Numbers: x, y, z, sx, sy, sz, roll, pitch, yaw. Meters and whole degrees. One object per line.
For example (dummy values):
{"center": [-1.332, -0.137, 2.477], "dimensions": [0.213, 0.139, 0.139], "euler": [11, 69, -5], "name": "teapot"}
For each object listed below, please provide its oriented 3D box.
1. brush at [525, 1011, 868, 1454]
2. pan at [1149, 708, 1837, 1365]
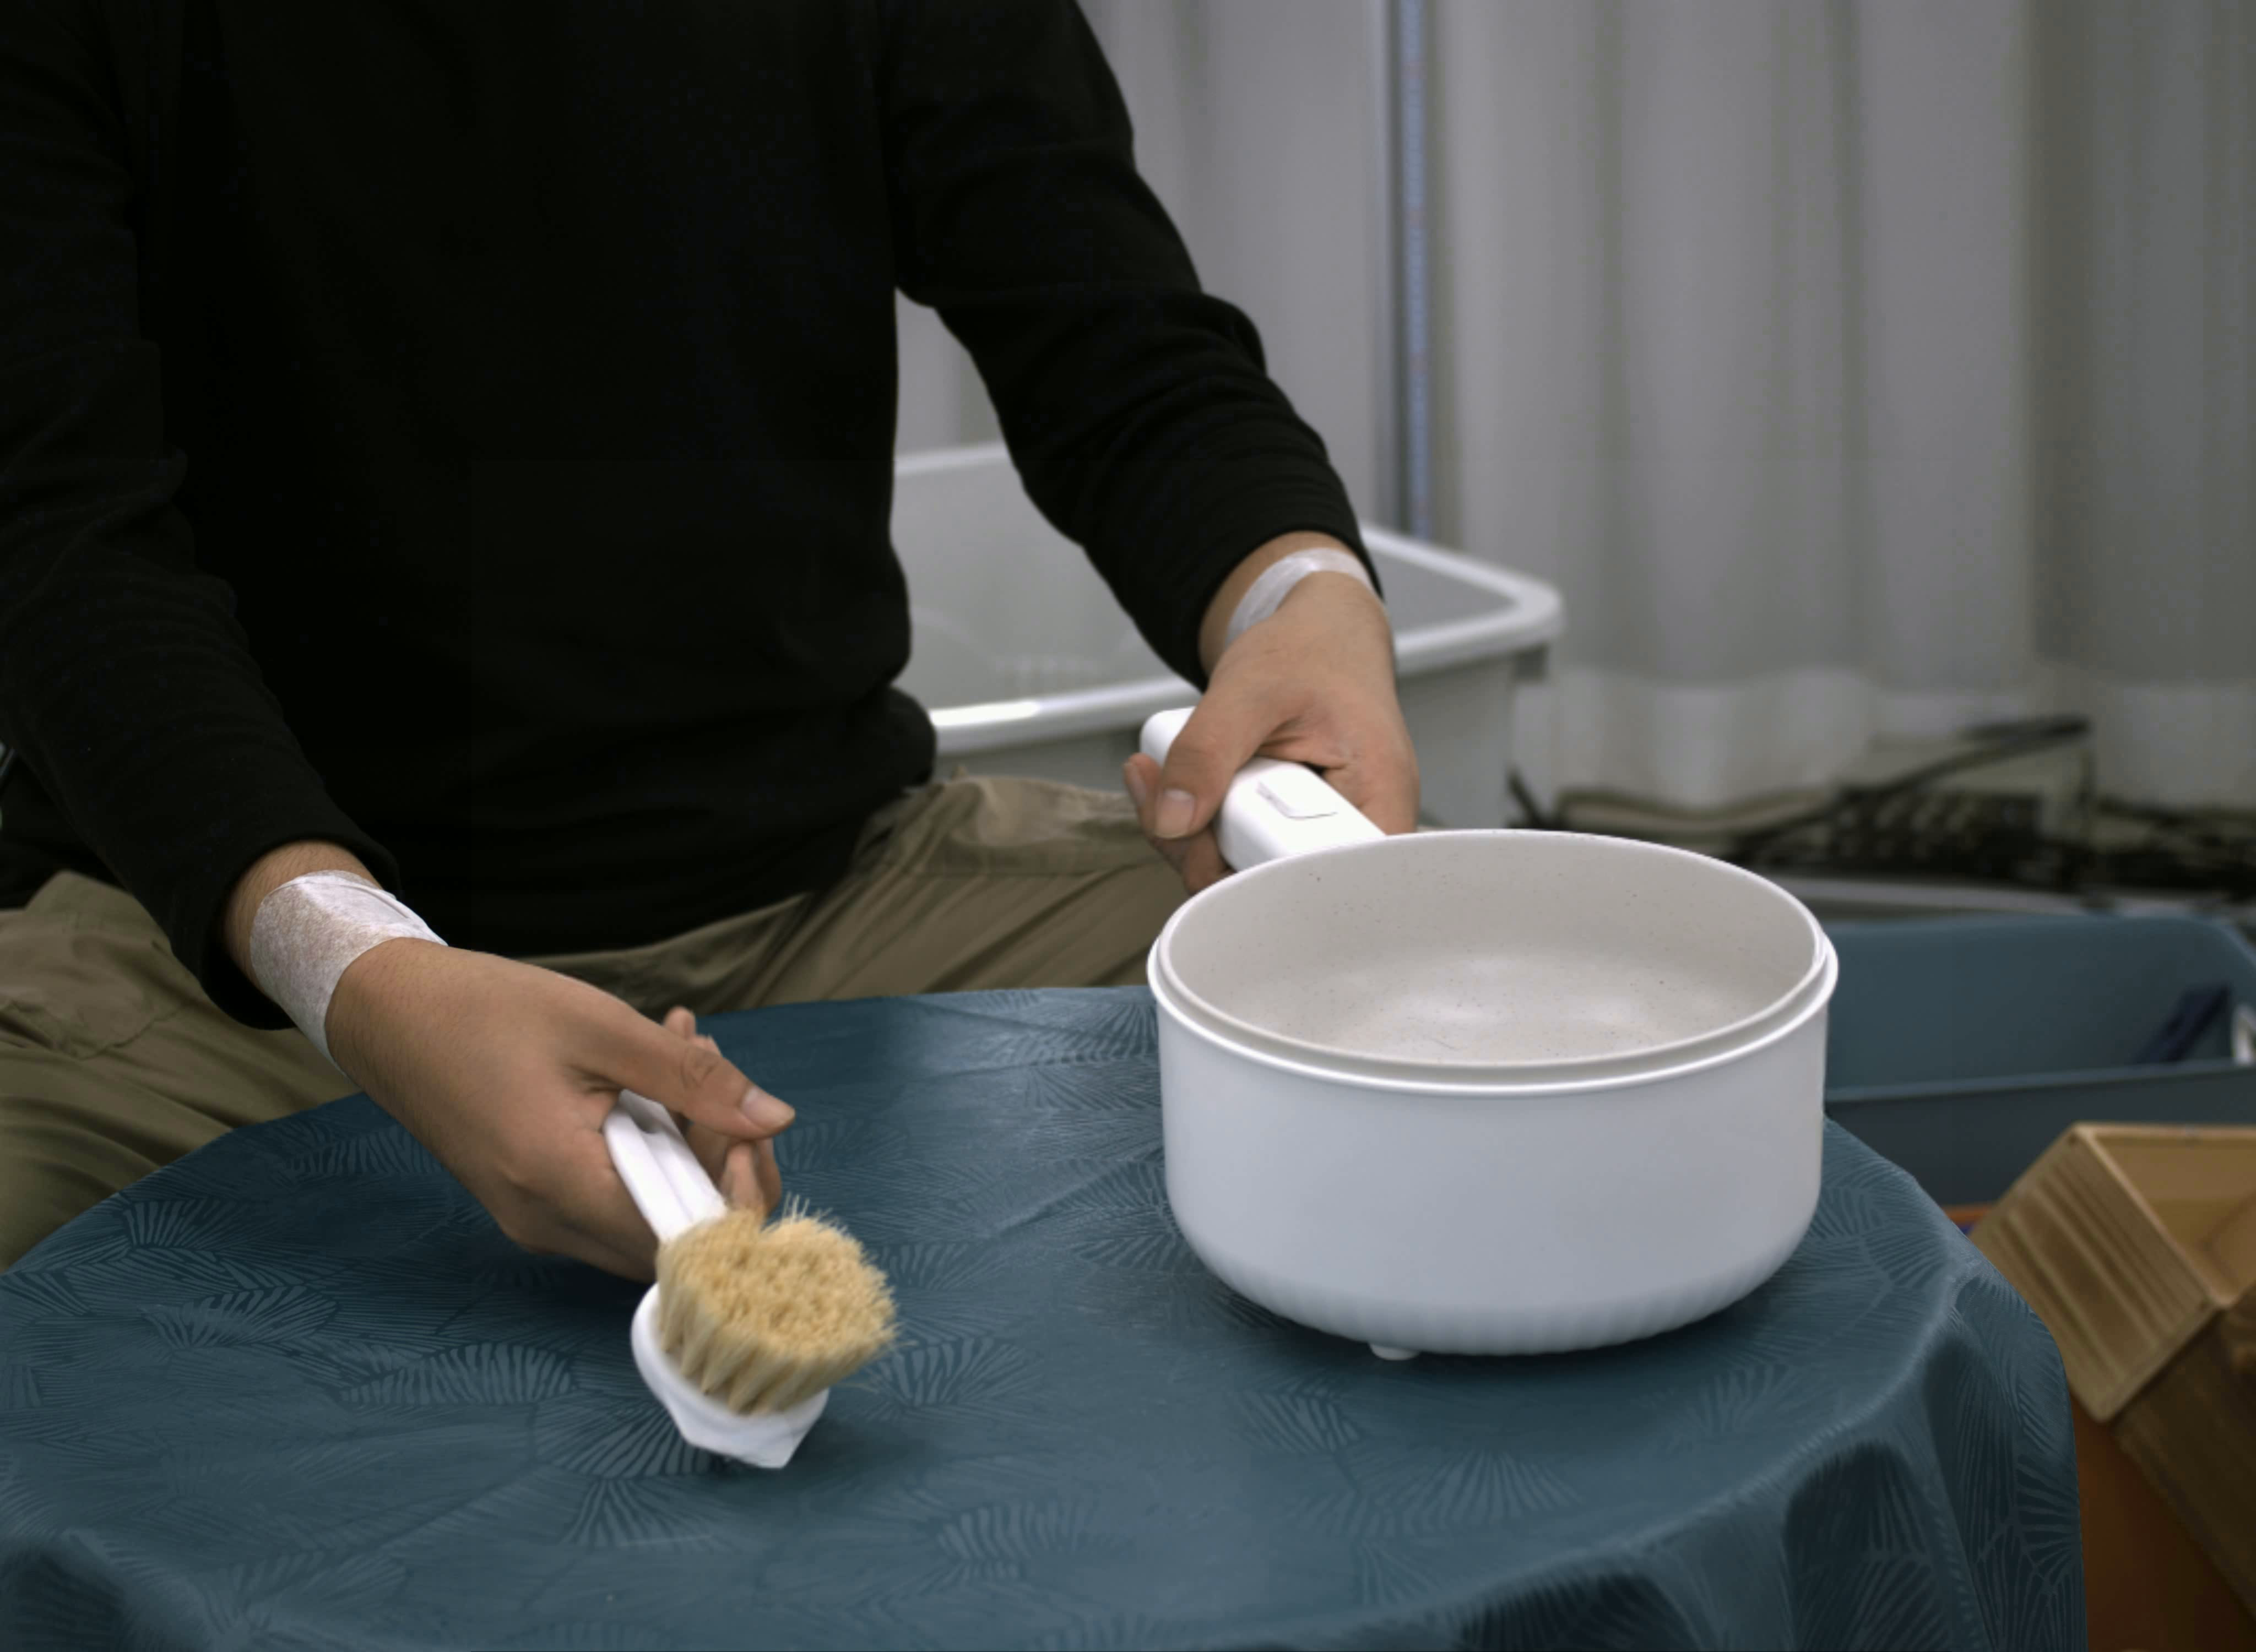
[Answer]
{"center": [-0.135, 0.095, 1.597], "dimensions": [0.068, 0.056, 0.269], "euler": [22, 16, -23], "name": "brush"}
{"center": [0.083, 0.059, 1.679], "dimensions": [0.200, 0.101, 0.358], "euler": [-9, 20, -17], "name": "pan"}
